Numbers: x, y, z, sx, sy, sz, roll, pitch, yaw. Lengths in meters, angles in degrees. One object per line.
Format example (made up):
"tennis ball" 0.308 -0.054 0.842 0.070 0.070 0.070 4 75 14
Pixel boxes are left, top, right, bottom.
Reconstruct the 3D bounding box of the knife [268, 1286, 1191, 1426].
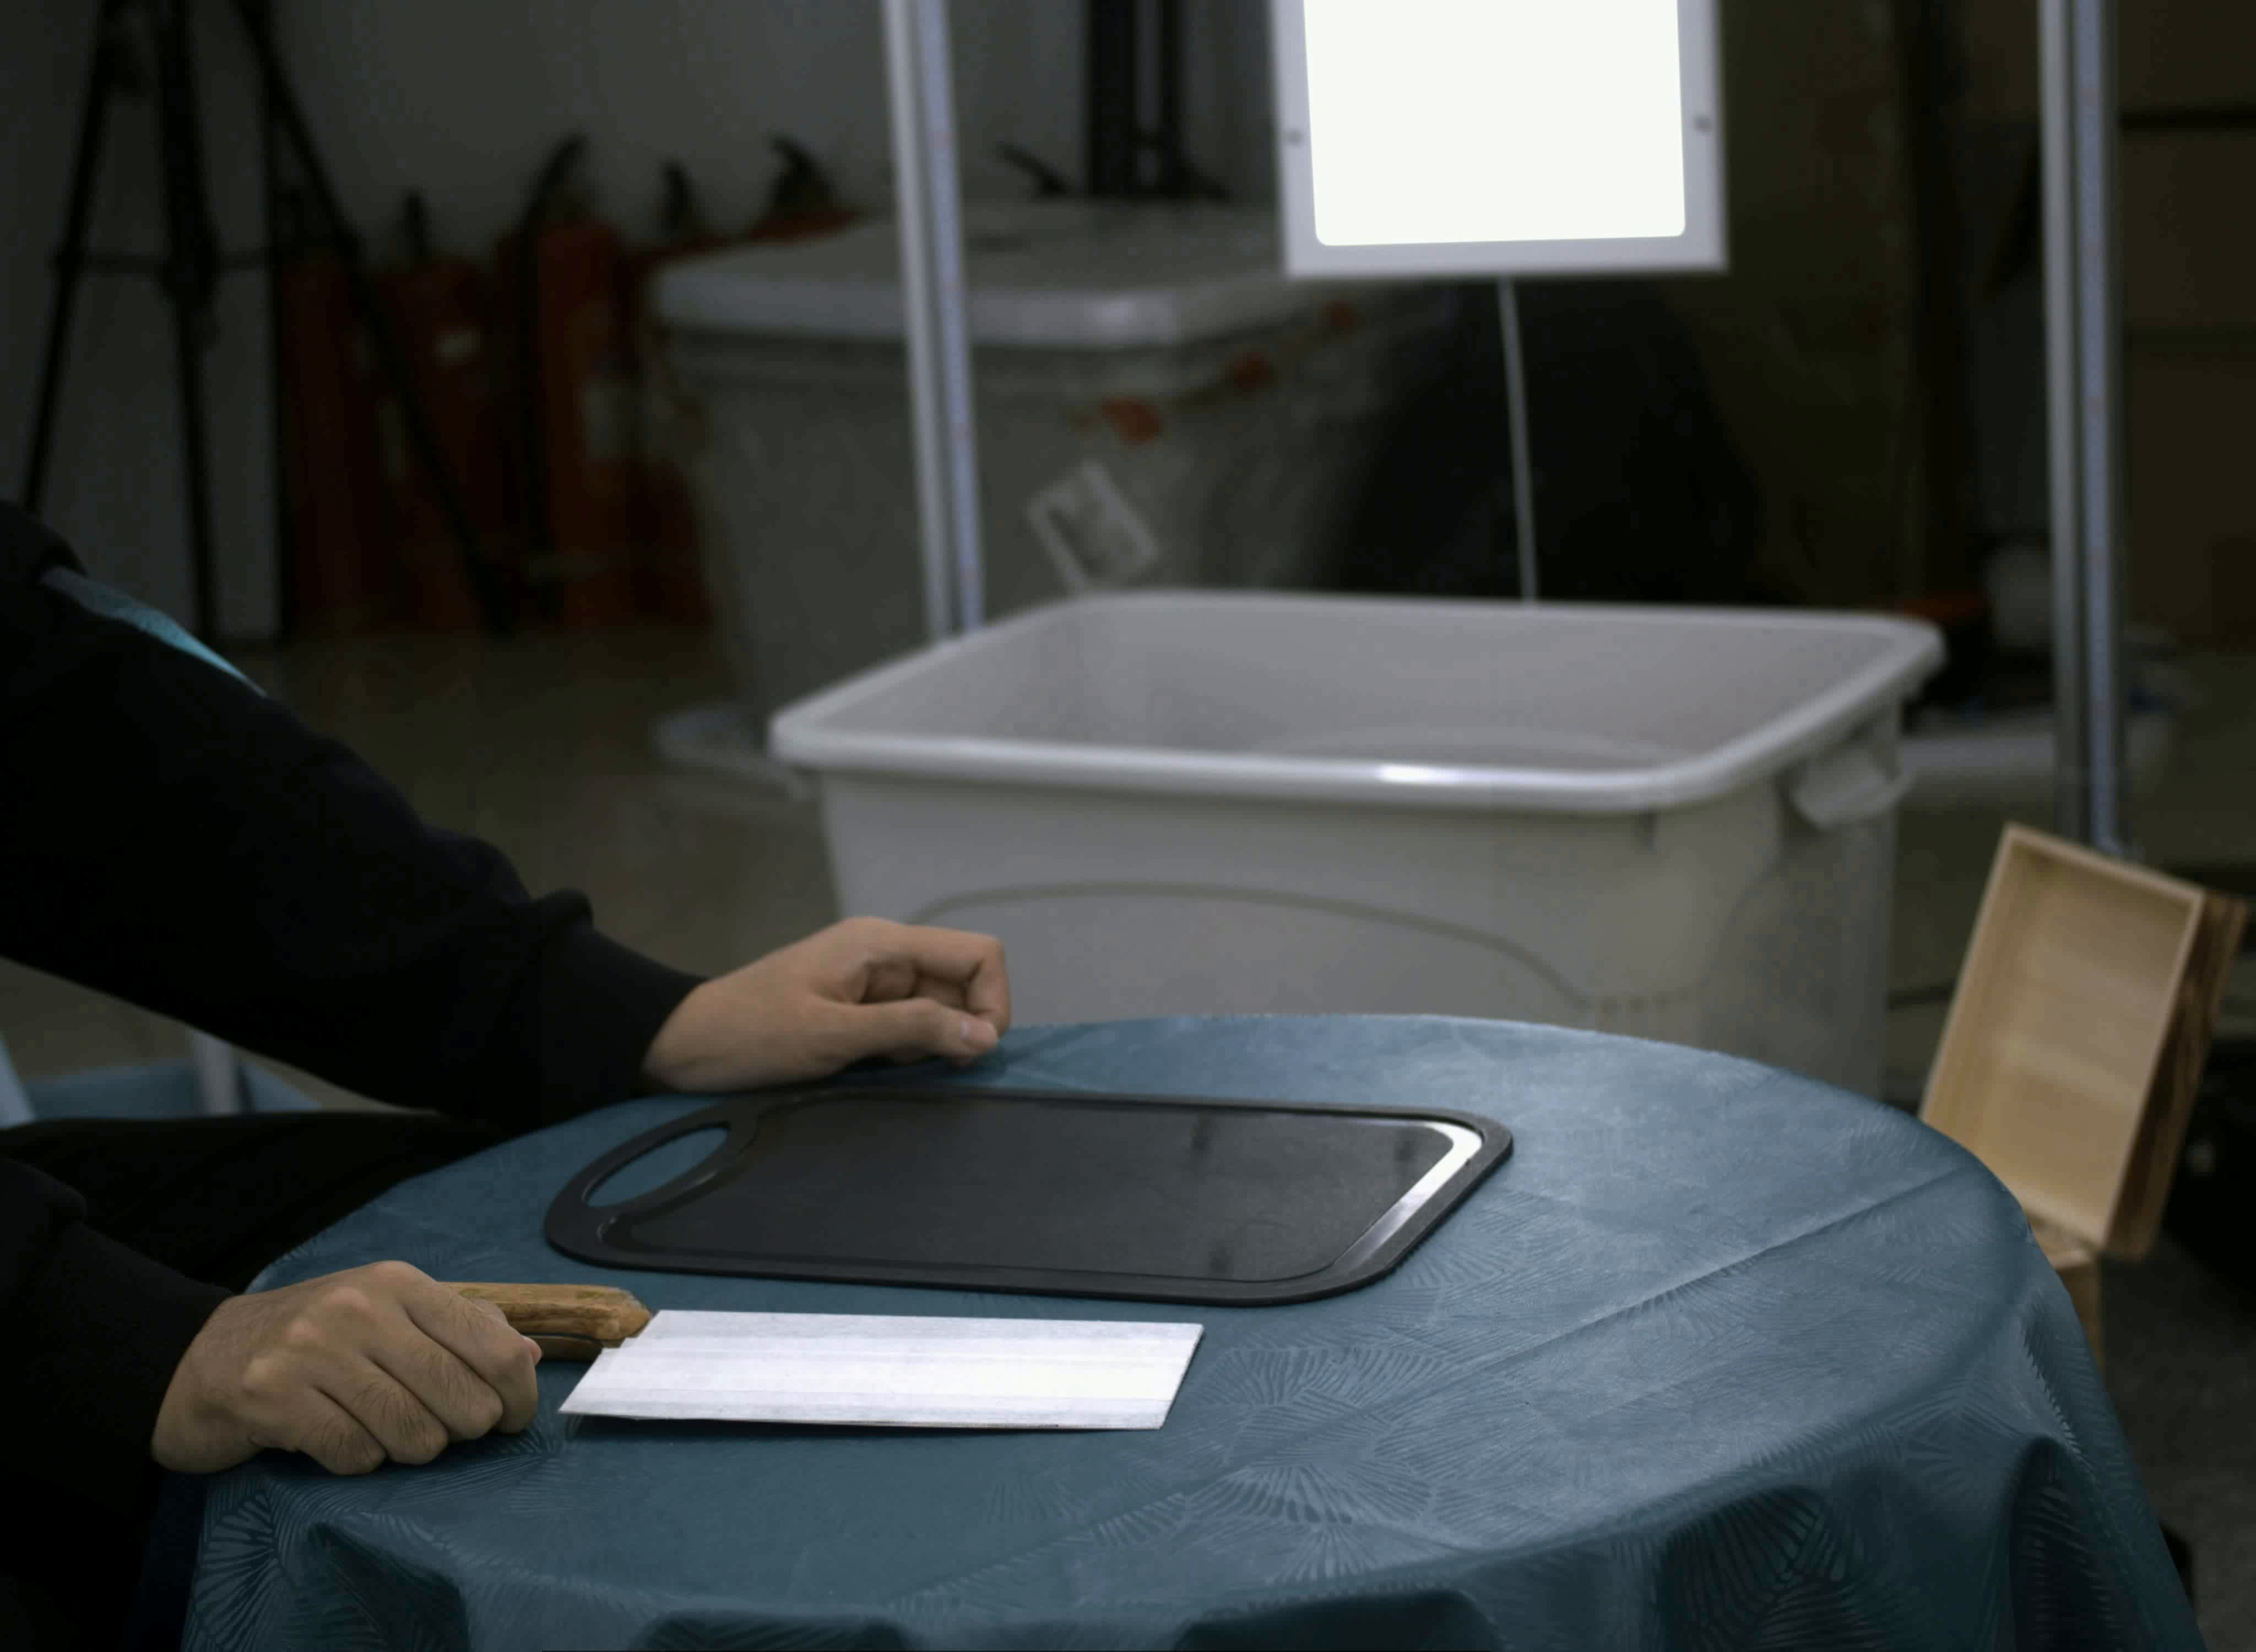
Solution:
"knife" -0.132 0.169 1.741 0.308 0.021 0.092 0 16 12

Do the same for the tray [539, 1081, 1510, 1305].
"tray" -0.042 0.123 1.911 0.330 0.010 0.207 1 15 24
